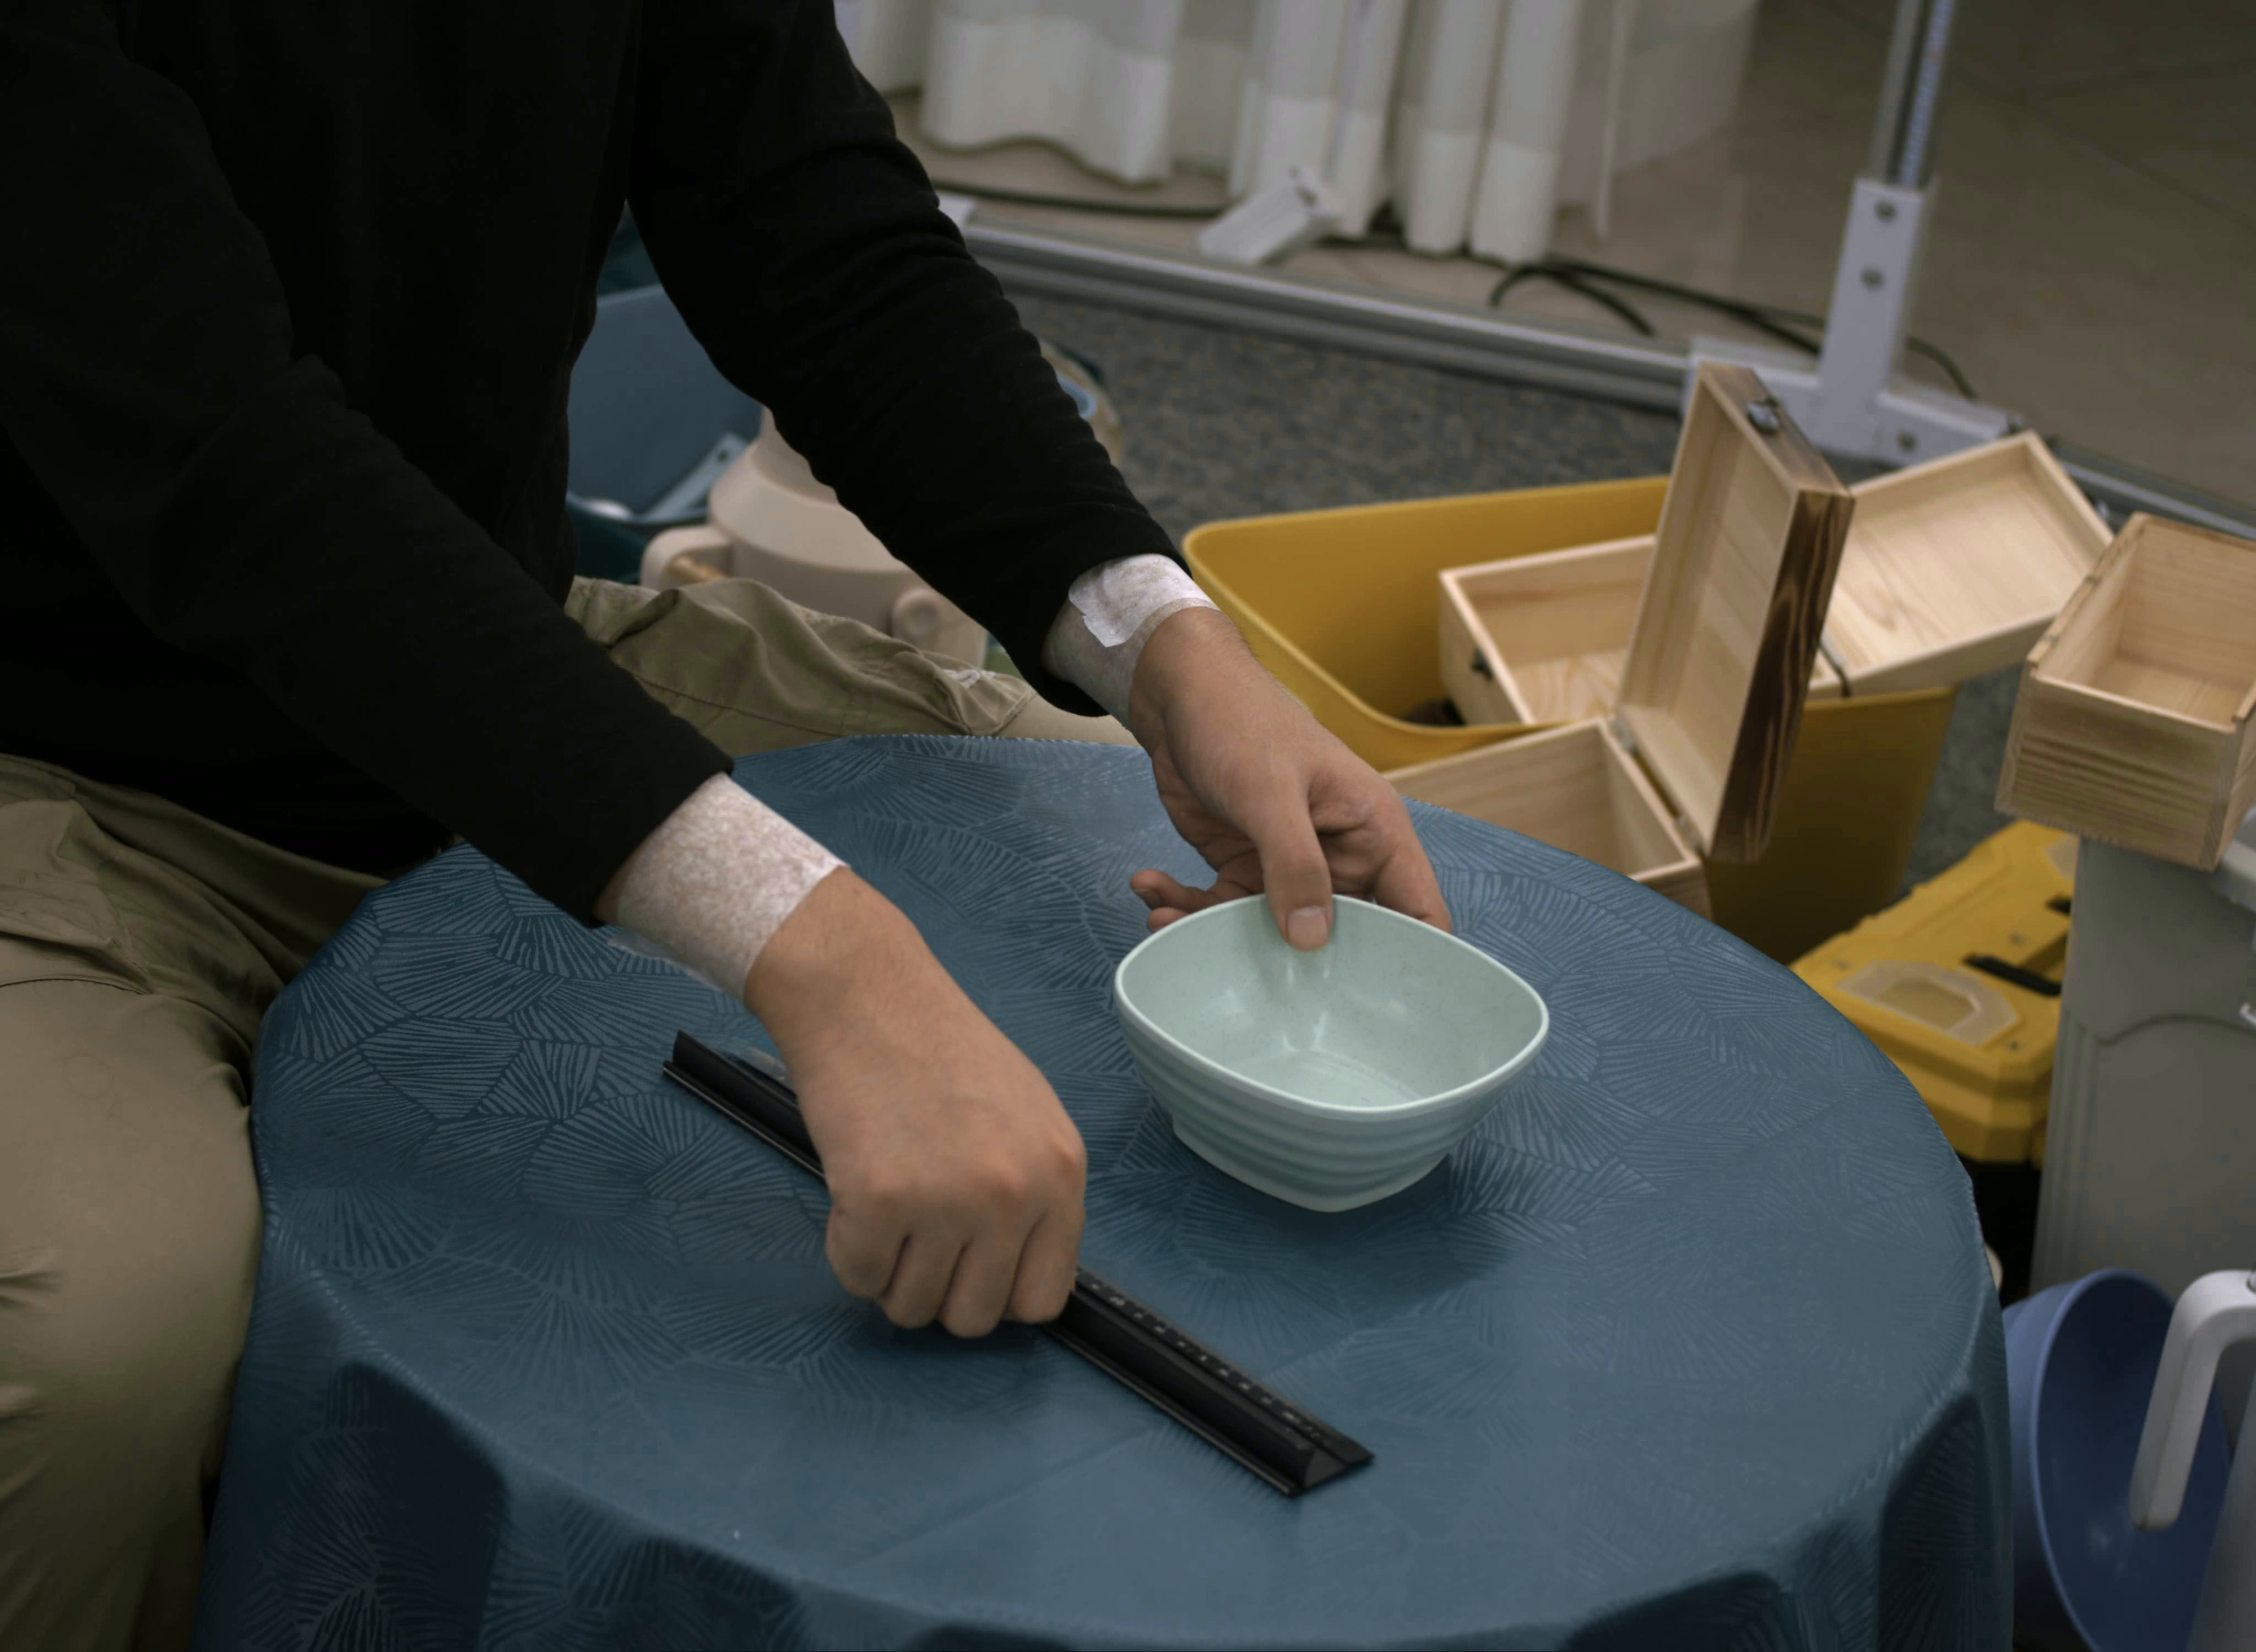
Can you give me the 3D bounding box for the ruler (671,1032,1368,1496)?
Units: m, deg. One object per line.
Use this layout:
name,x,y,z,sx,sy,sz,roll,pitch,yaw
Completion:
ruler,-0.040,0.136,1.751,0.039,0.017,0.315,-15,34,-41

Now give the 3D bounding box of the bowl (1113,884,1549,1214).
bowl,0.066,0.083,1.834,0.151,0.058,0.152,6,29,-4
